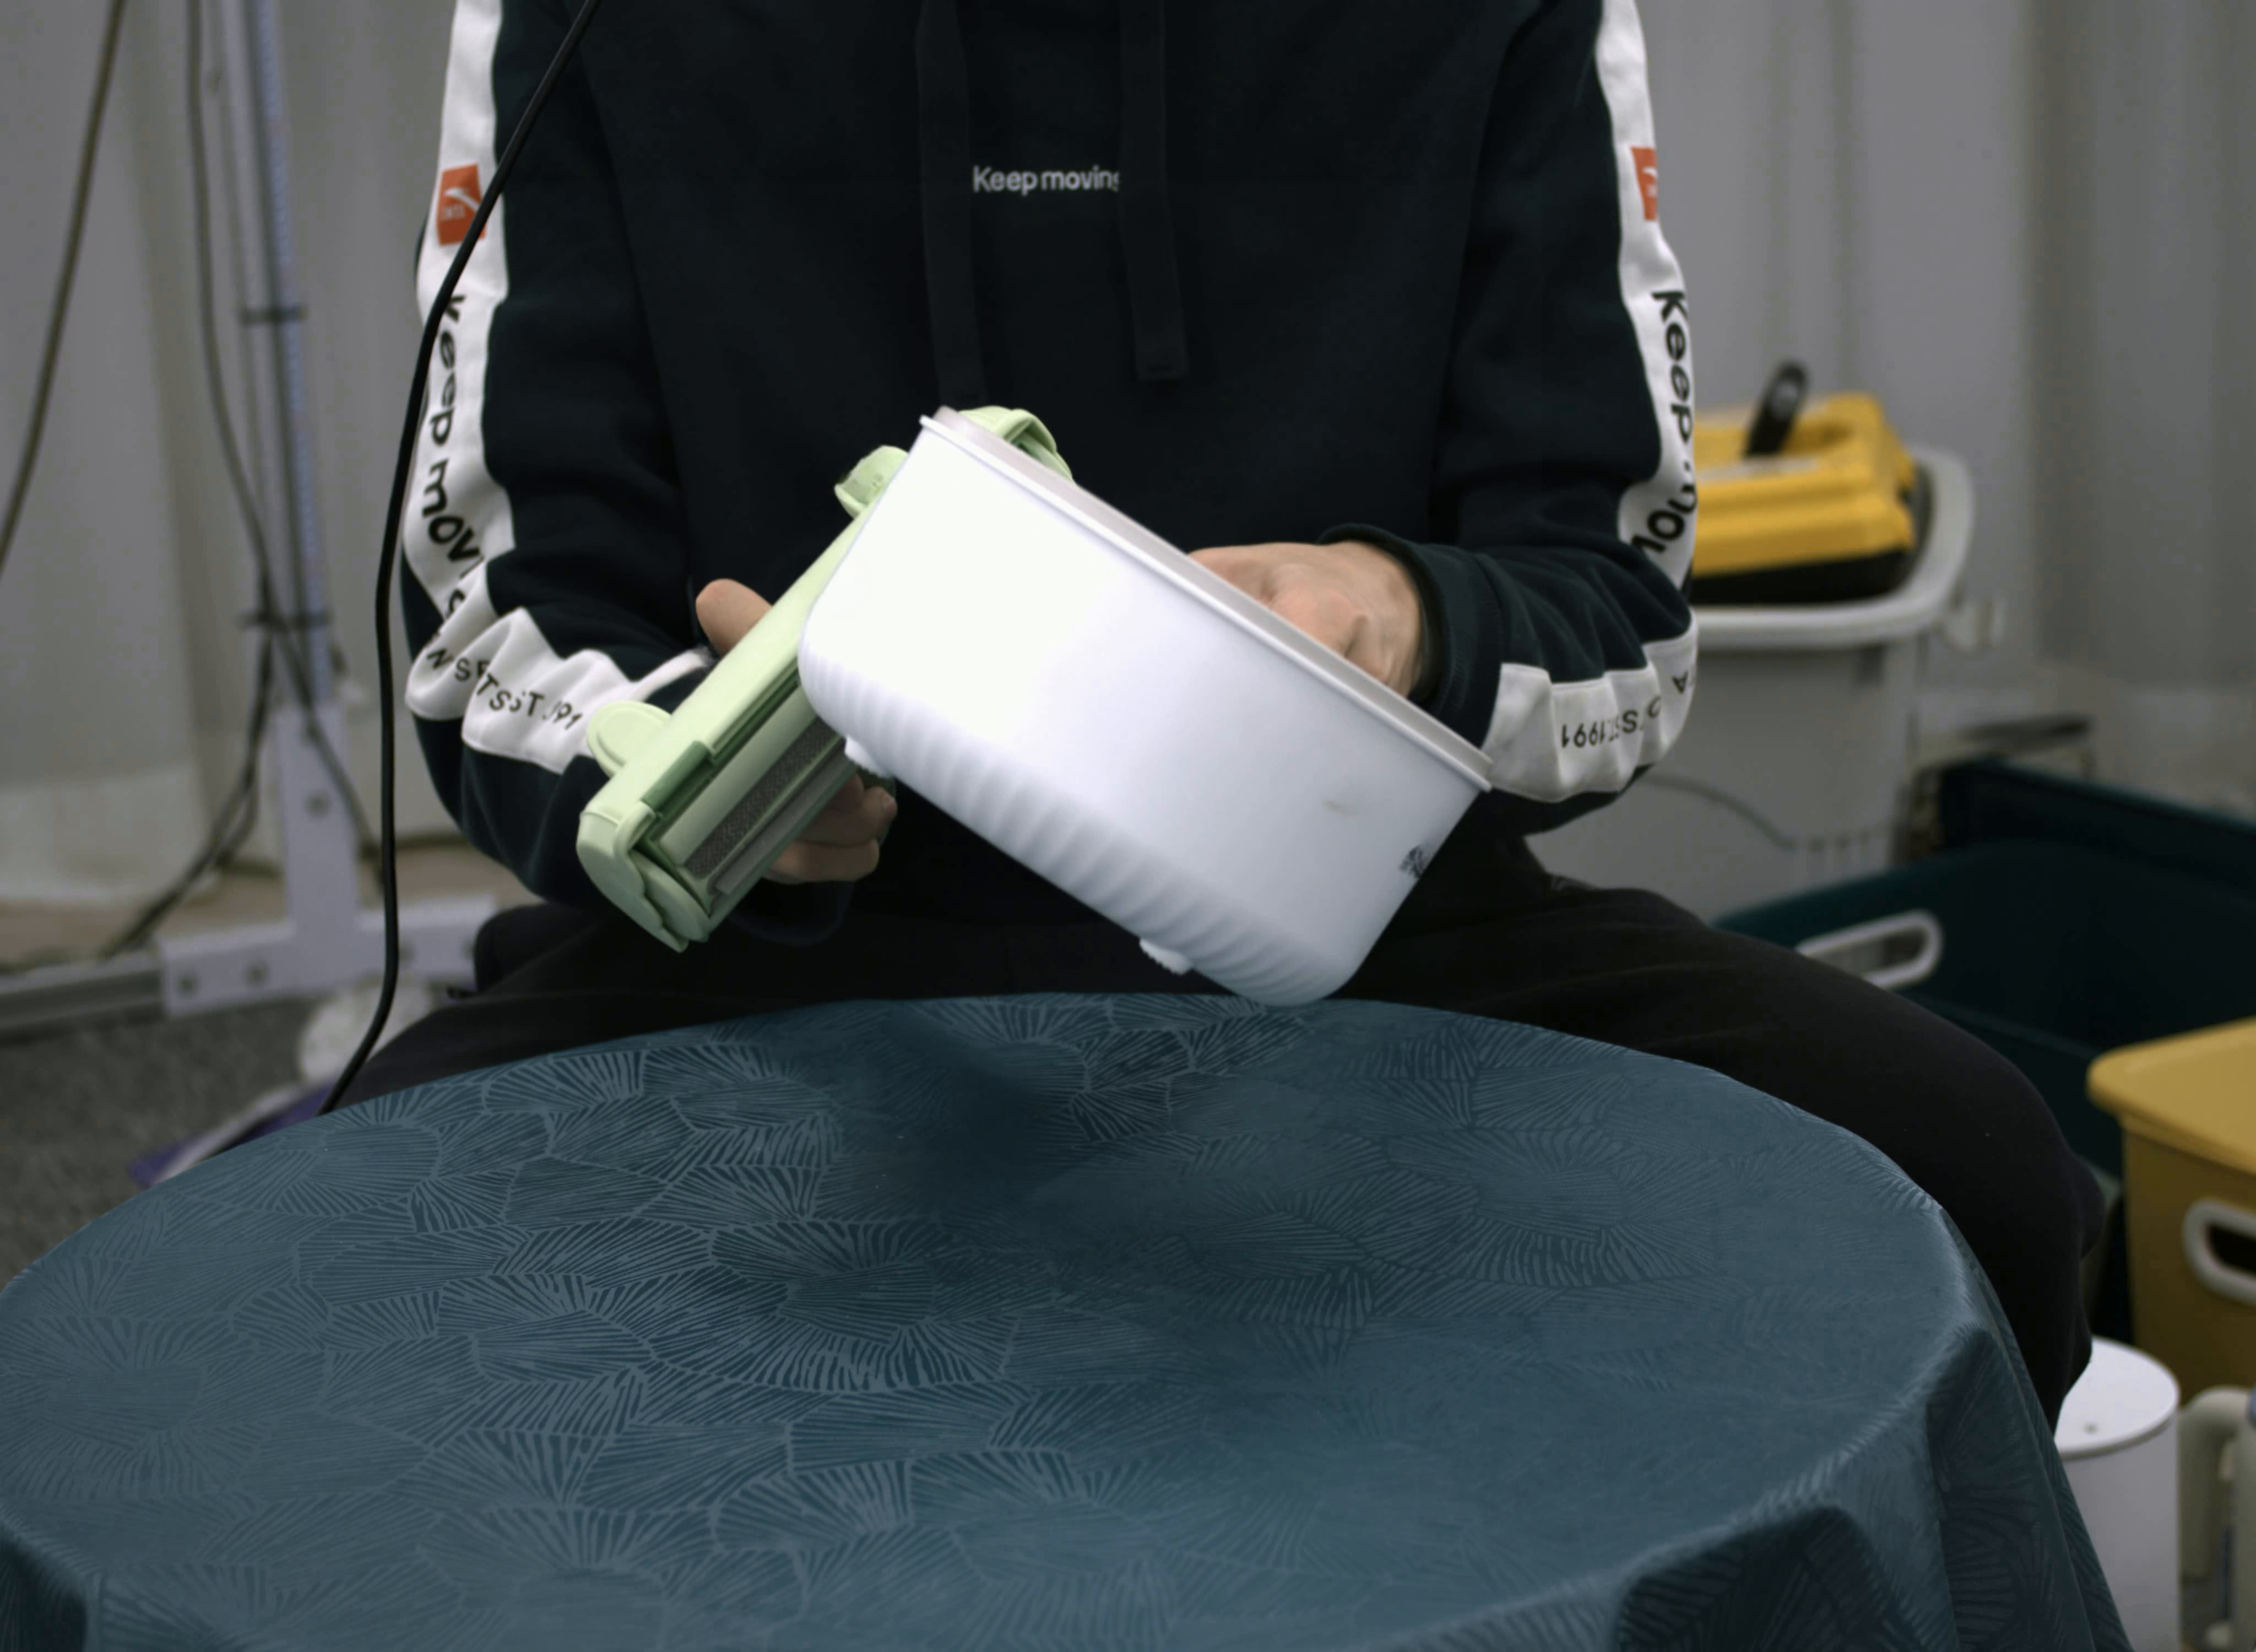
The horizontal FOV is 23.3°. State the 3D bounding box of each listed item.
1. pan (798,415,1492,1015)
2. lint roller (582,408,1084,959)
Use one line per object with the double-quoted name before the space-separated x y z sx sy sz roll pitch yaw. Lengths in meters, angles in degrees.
"pan" 0.007 -0.023 1.695 0.201 0.102 0.354 33 1 6
"lint roller" -0.106 -0.038 1.757 0.199 0.082 0.182 -49 -1 -18
